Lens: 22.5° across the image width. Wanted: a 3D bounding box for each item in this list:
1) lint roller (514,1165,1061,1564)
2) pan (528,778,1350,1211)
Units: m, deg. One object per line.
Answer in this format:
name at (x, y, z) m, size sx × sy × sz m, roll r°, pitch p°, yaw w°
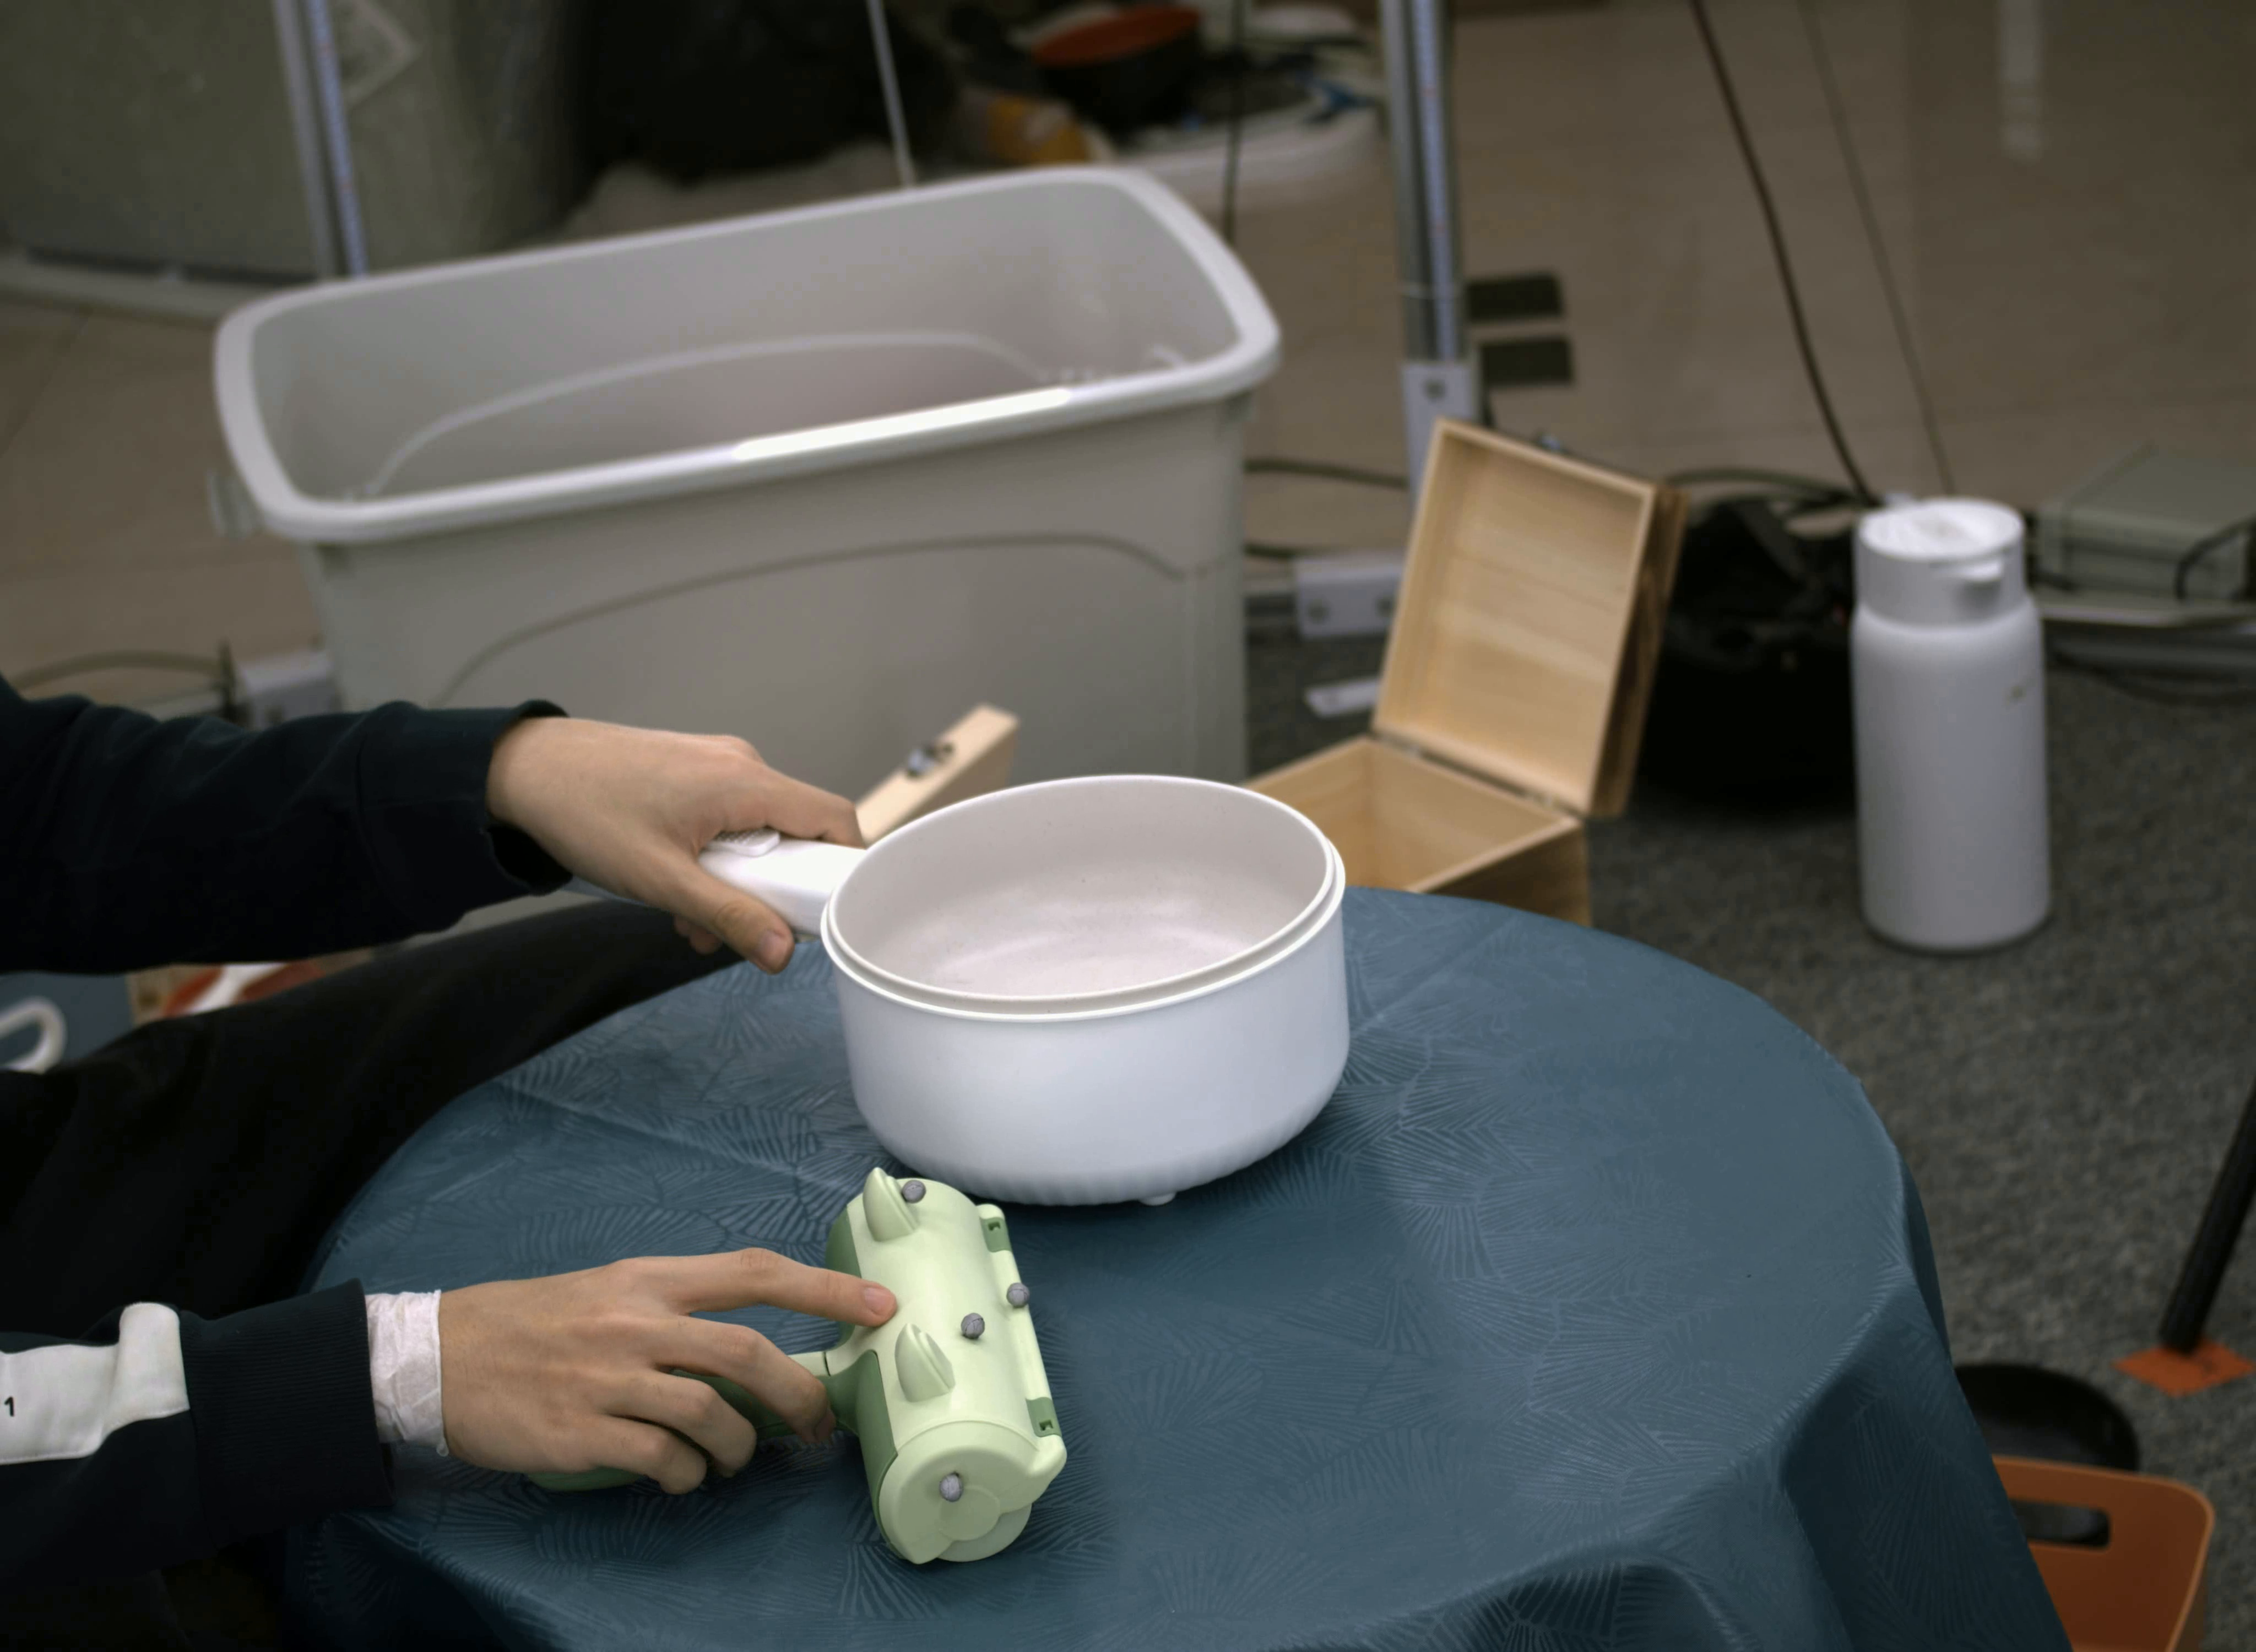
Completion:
lint roller at (-0.125, 0.186, 1.984) m, size 0.183 × 0.083 × 0.196 m, roll -4°, pitch 25°, yaw -7°
pan at (-0.079, 0.059, 2.219) m, size 0.353 × 0.104 × 0.199 m, roll 8°, pitch 30°, yaw 30°
